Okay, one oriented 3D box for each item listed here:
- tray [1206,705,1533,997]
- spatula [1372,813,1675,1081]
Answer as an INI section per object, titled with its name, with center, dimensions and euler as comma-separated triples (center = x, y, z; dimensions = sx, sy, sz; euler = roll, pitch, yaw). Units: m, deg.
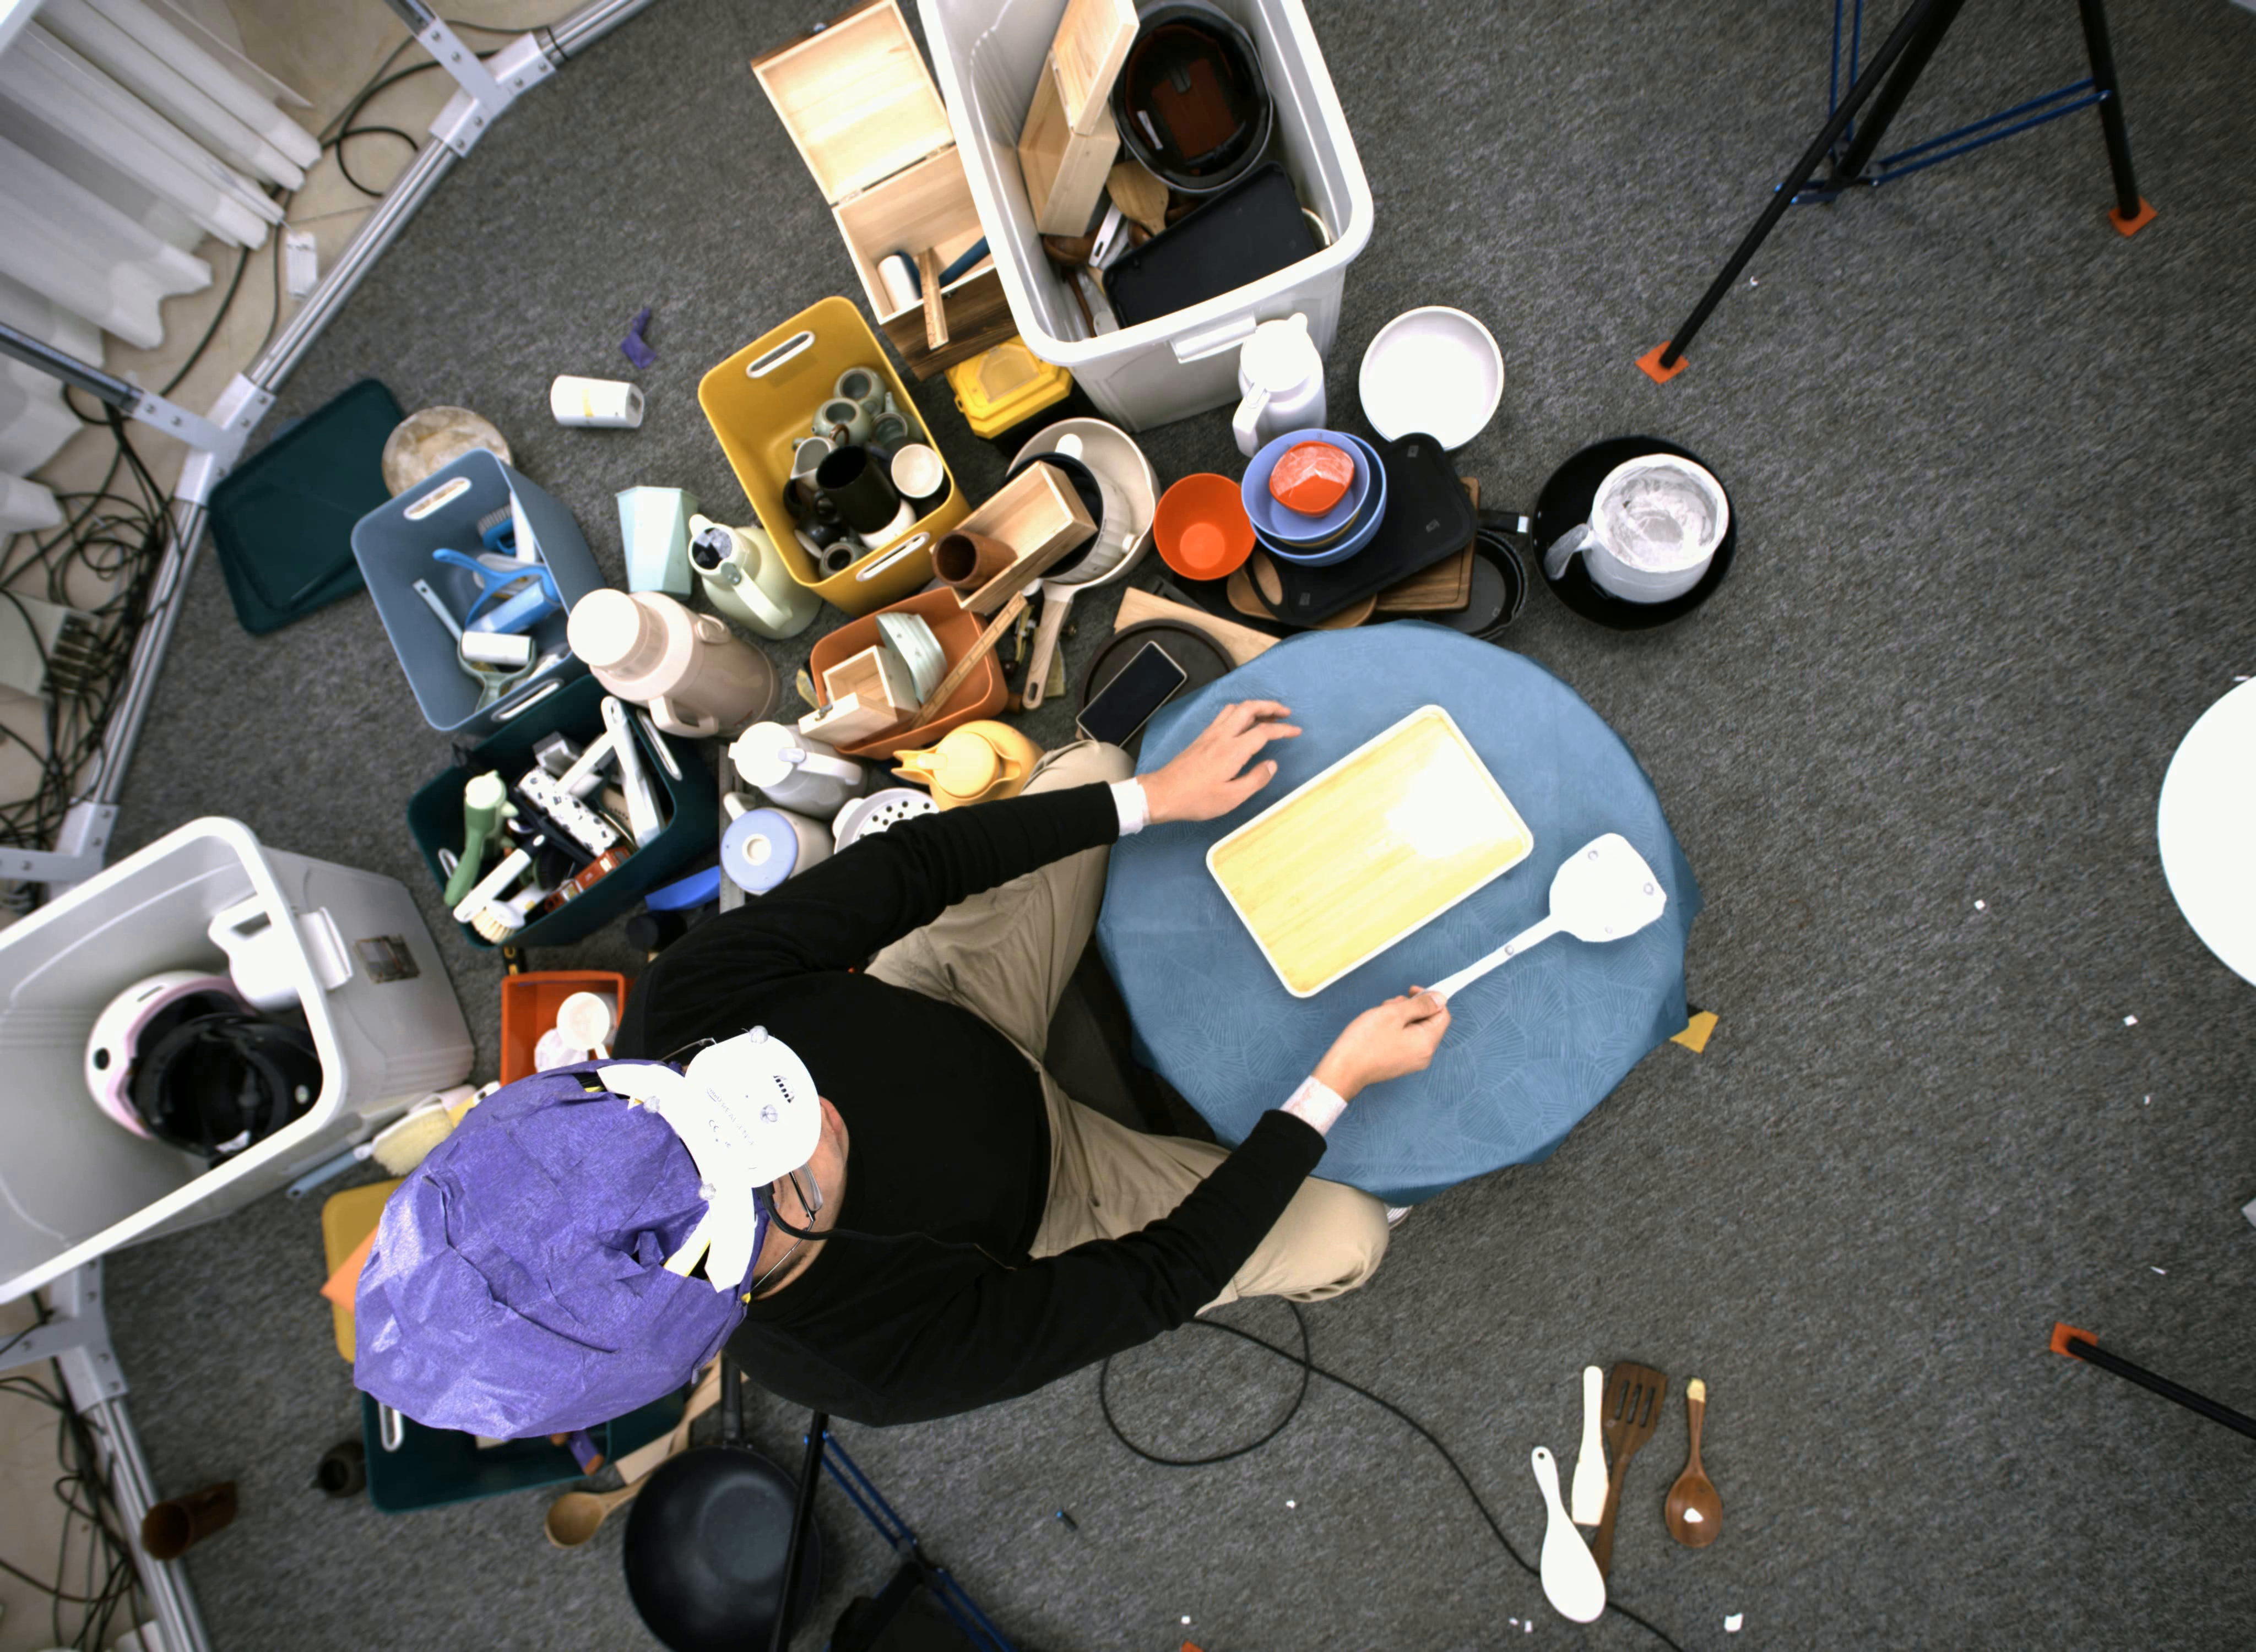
[tray]
center = 0.251, 0.025, 1.453
dimensions = 0.302, 0.027, 0.190
euler = -33, 82, 7
[spatula]
center = 0.383, 0.134, 1.371
dimensions = 0.367, 0.045, 0.097
euler = -42, 60, 6
